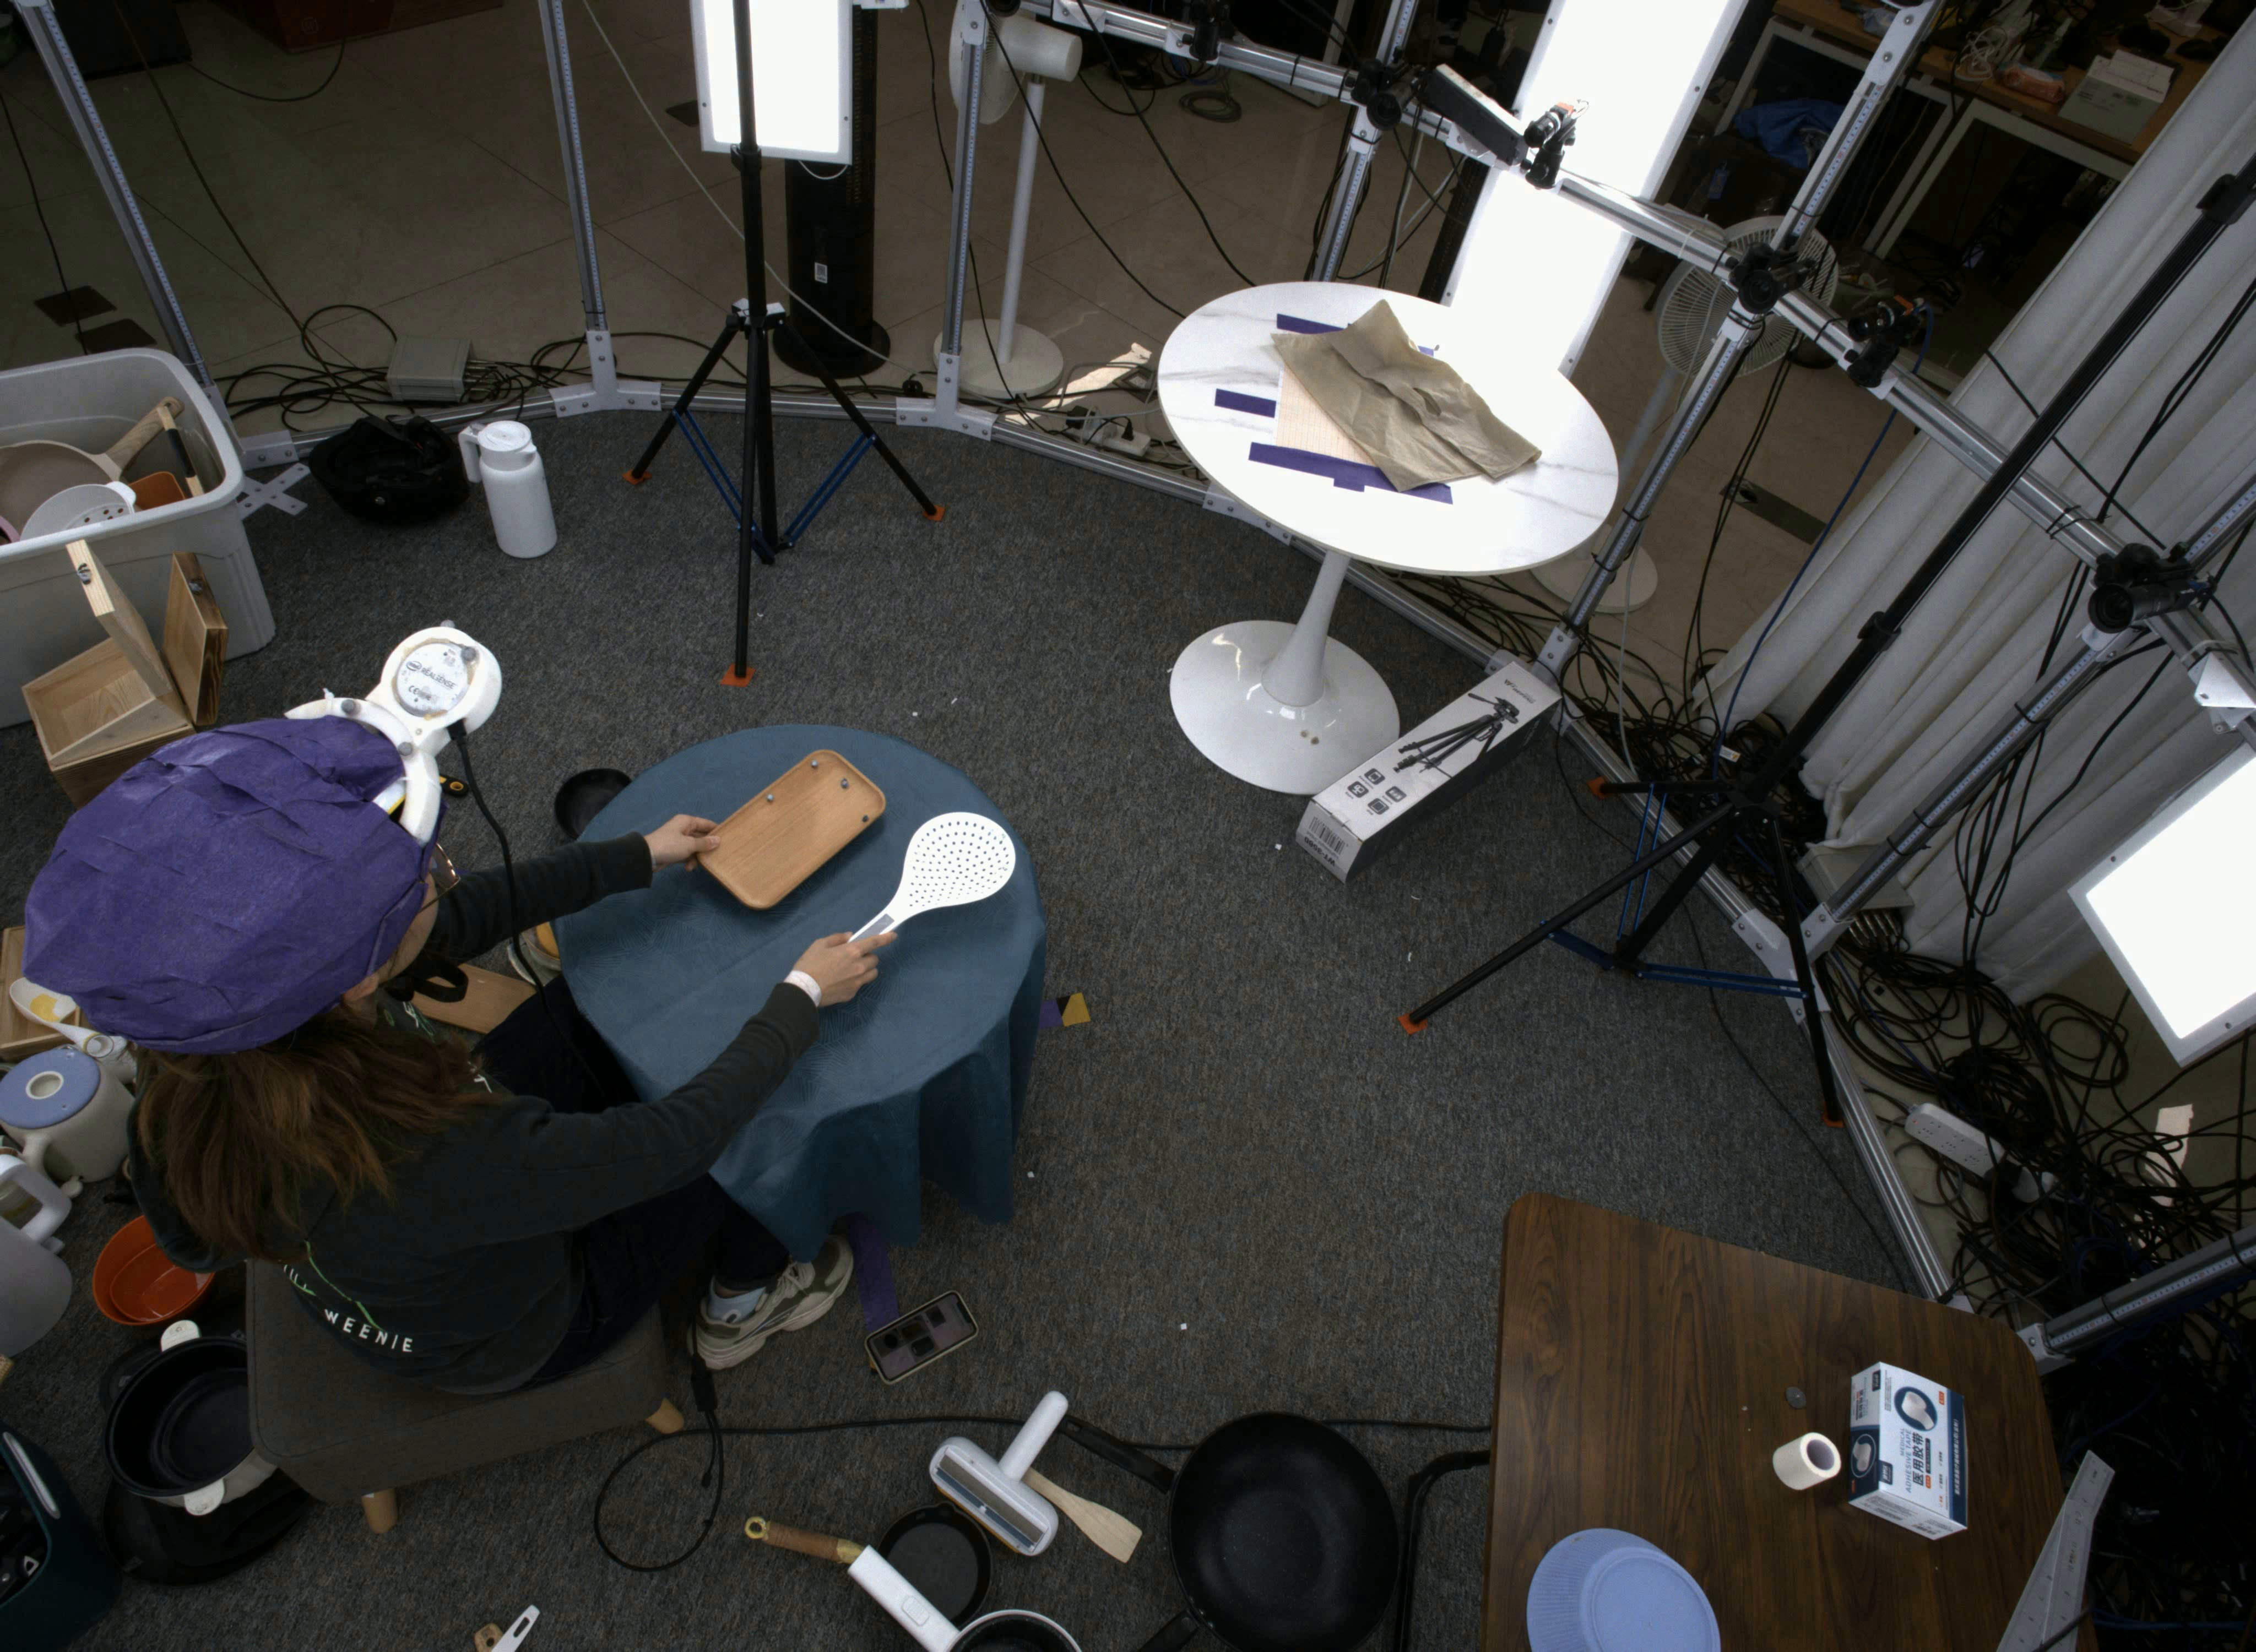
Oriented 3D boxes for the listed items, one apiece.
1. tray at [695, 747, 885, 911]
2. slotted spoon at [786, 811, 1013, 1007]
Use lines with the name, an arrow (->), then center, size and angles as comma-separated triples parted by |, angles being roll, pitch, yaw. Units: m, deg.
tray -> -0.434, 0.000, 1.677 | 0.129, 0.023, 0.250 | 40, 55, 5
slotted spoon -> -0.284, 0.102, 1.616 | 0.133, 0.046, 0.350 | 38, 53, 16
